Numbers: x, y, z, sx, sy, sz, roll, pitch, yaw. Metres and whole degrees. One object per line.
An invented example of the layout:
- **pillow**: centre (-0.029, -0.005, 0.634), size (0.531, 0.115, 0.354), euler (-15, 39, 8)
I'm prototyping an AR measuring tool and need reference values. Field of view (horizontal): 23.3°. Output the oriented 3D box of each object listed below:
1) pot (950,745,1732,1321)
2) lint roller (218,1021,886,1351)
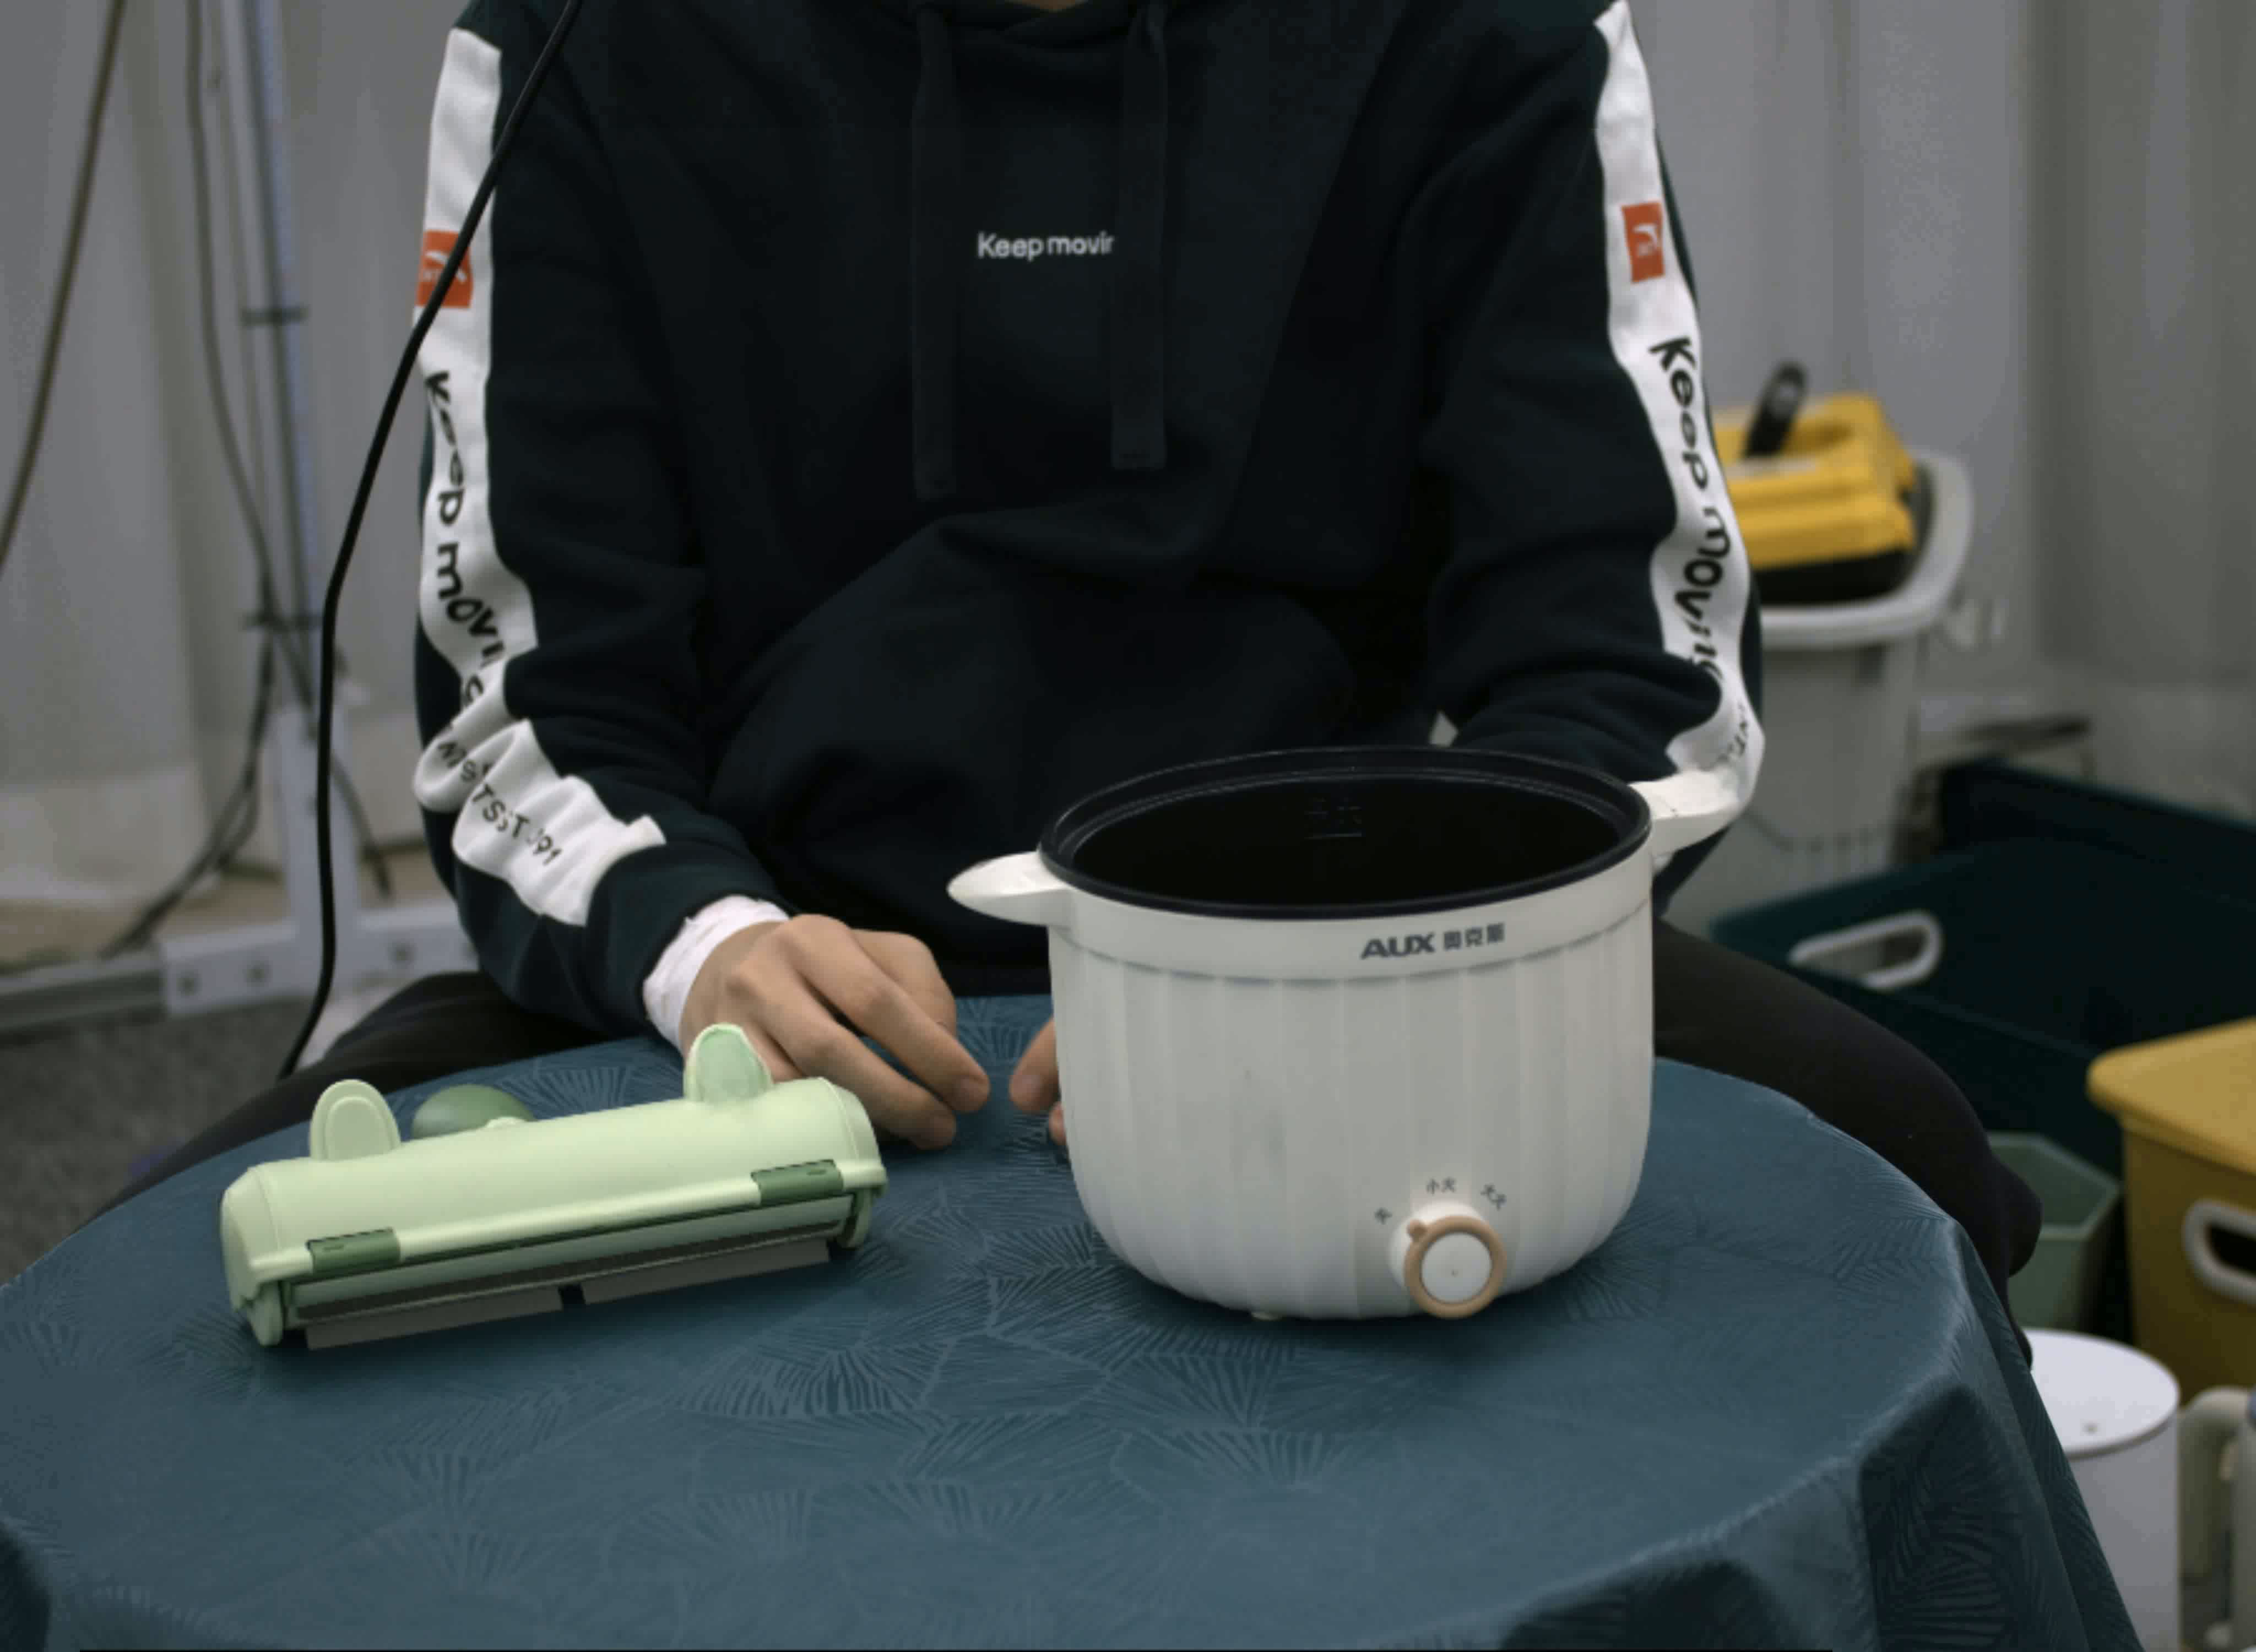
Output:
- **pot**: centre (0.070, 0.064, 1.624), size (0.239, 0.142, 0.192), euler (-8, 12, -12)
- **lint roller**: centre (-0.192, 0.092, 1.692), size (0.198, 0.081, 0.185), euler (-9, 21, -18)
